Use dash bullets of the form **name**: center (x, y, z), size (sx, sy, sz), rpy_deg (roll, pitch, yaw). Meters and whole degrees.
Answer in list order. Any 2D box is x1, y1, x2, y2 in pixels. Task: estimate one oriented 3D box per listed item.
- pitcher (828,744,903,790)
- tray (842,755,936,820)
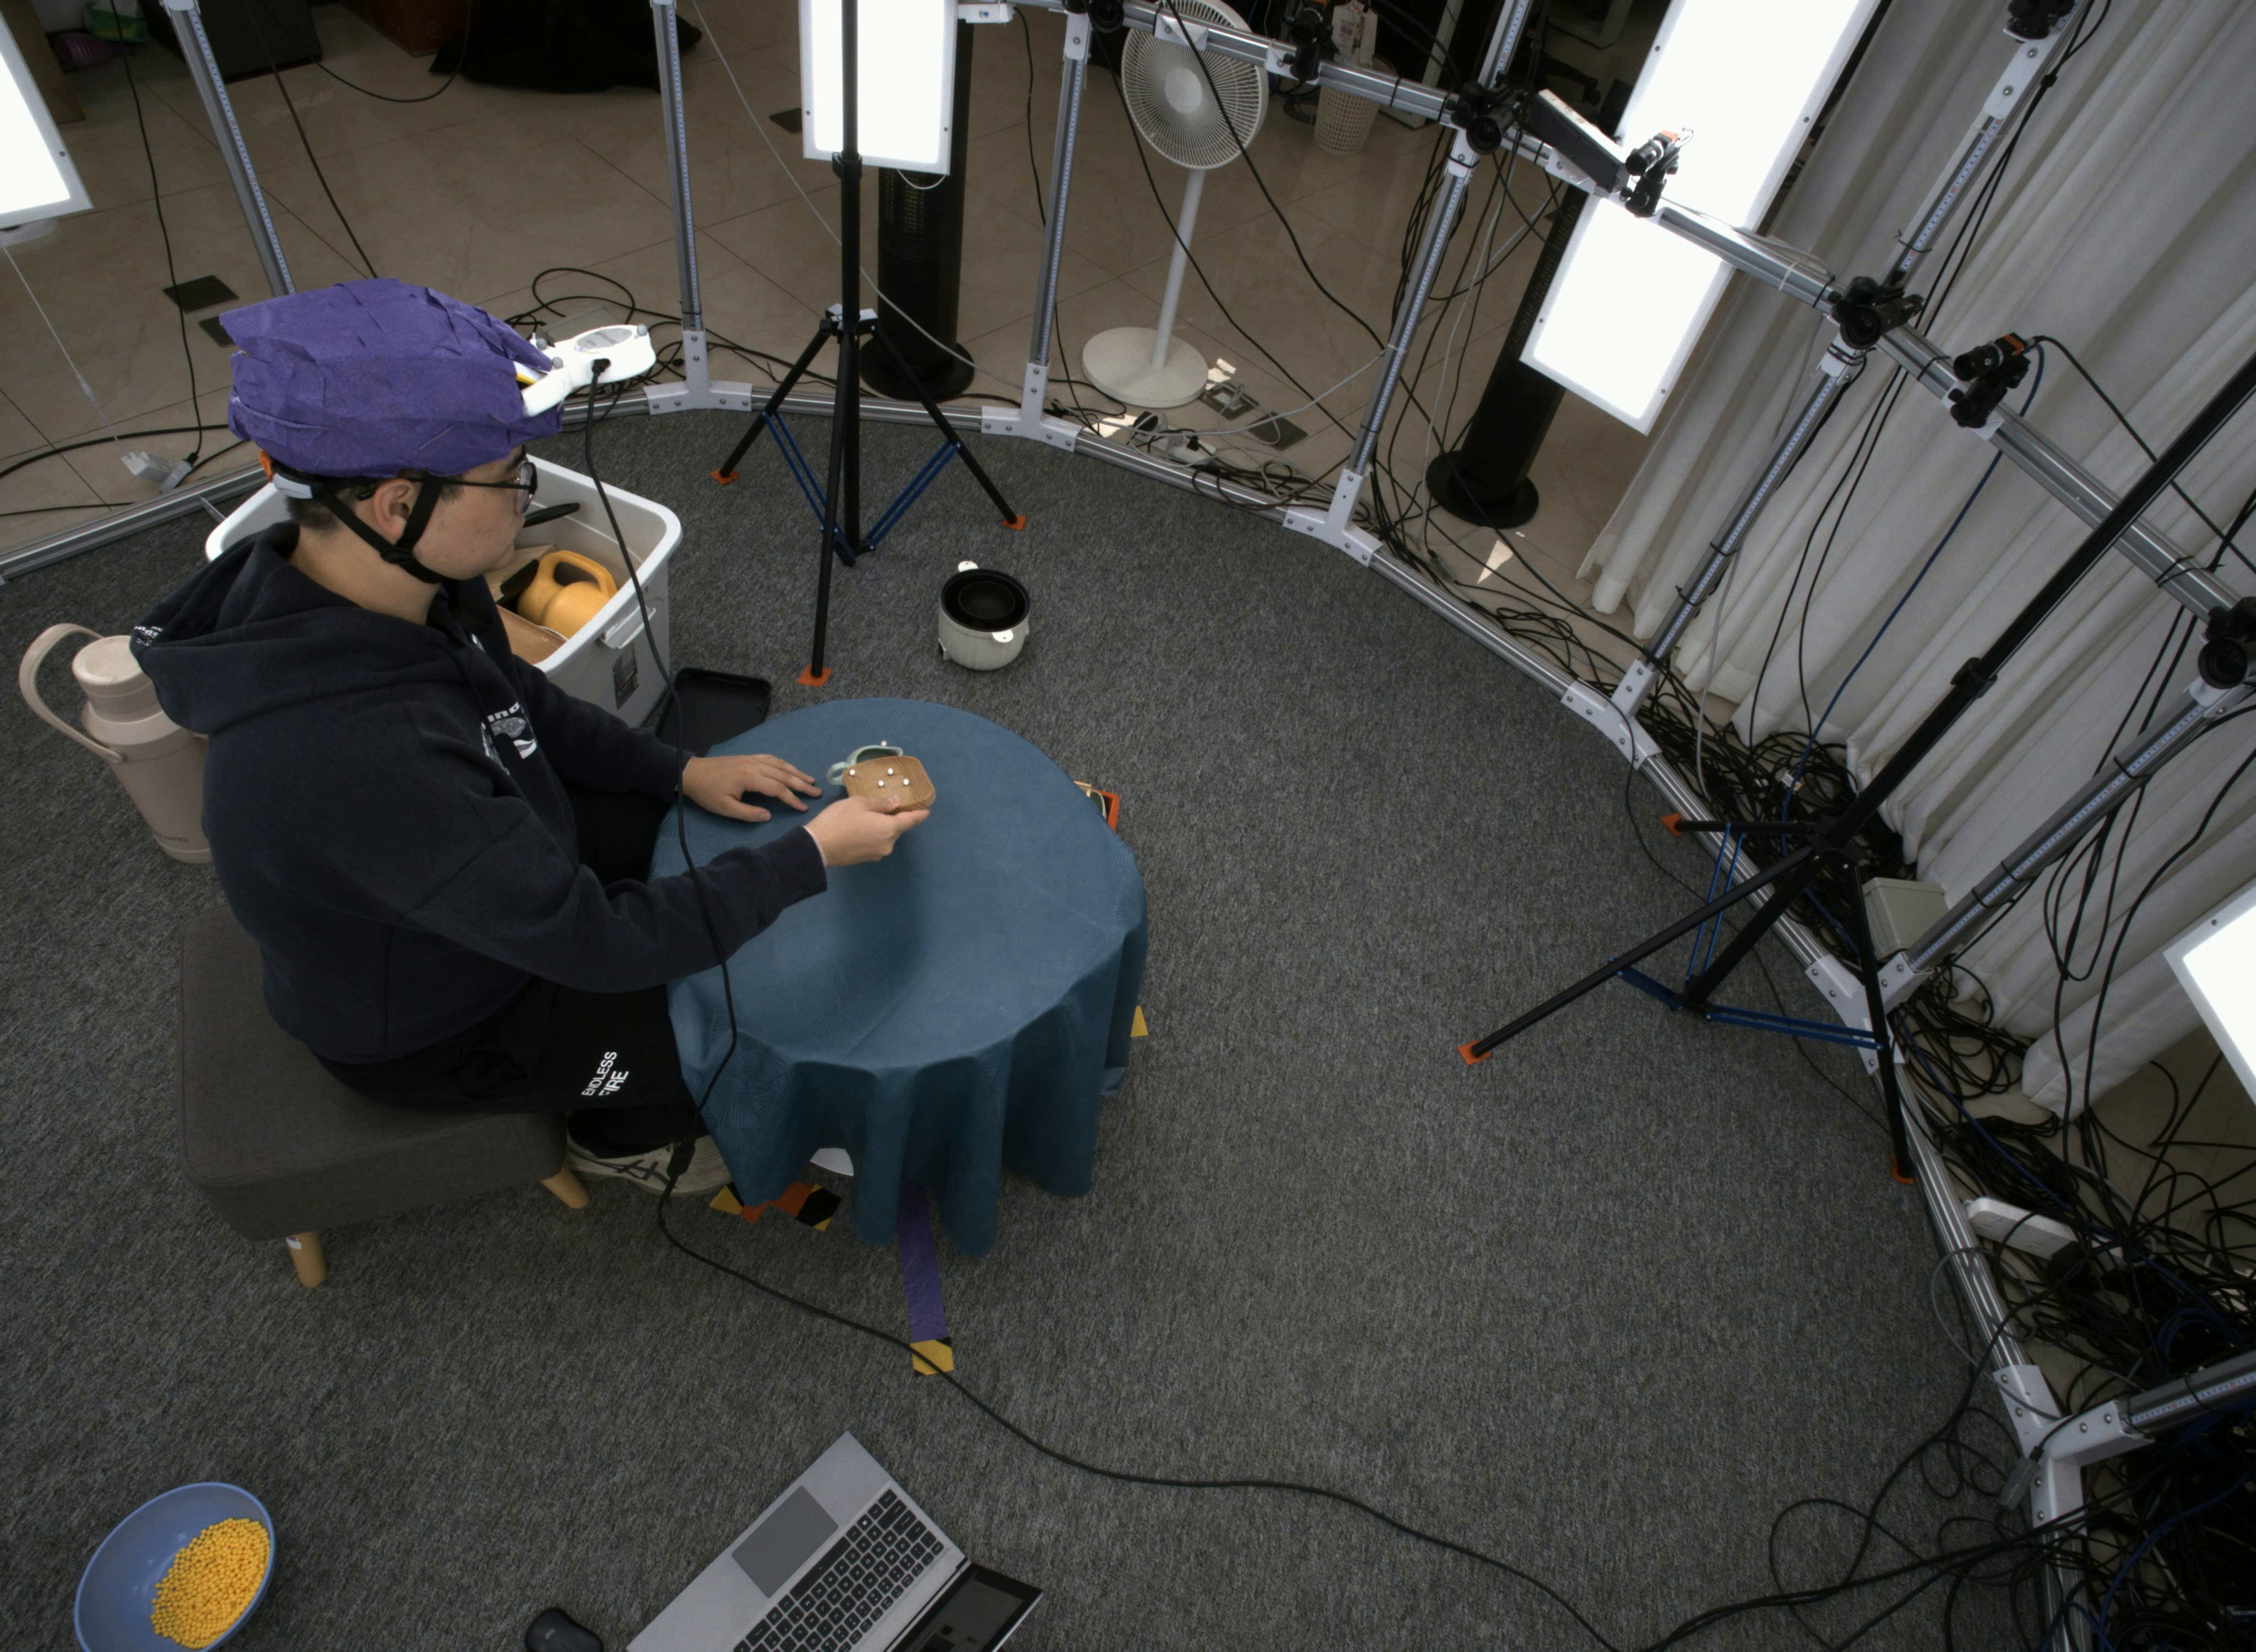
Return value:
- **pitcher**: center (-0.353, -0.073, 1.757), size (0.108, 0.062, 0.084), rpy_deg (-20, 59, -23)
- **tray**: center (-0.299, -0.050, 1.615), size (0.101, 0.021, 0.224), rpy_deg (-14, 23, -14)
